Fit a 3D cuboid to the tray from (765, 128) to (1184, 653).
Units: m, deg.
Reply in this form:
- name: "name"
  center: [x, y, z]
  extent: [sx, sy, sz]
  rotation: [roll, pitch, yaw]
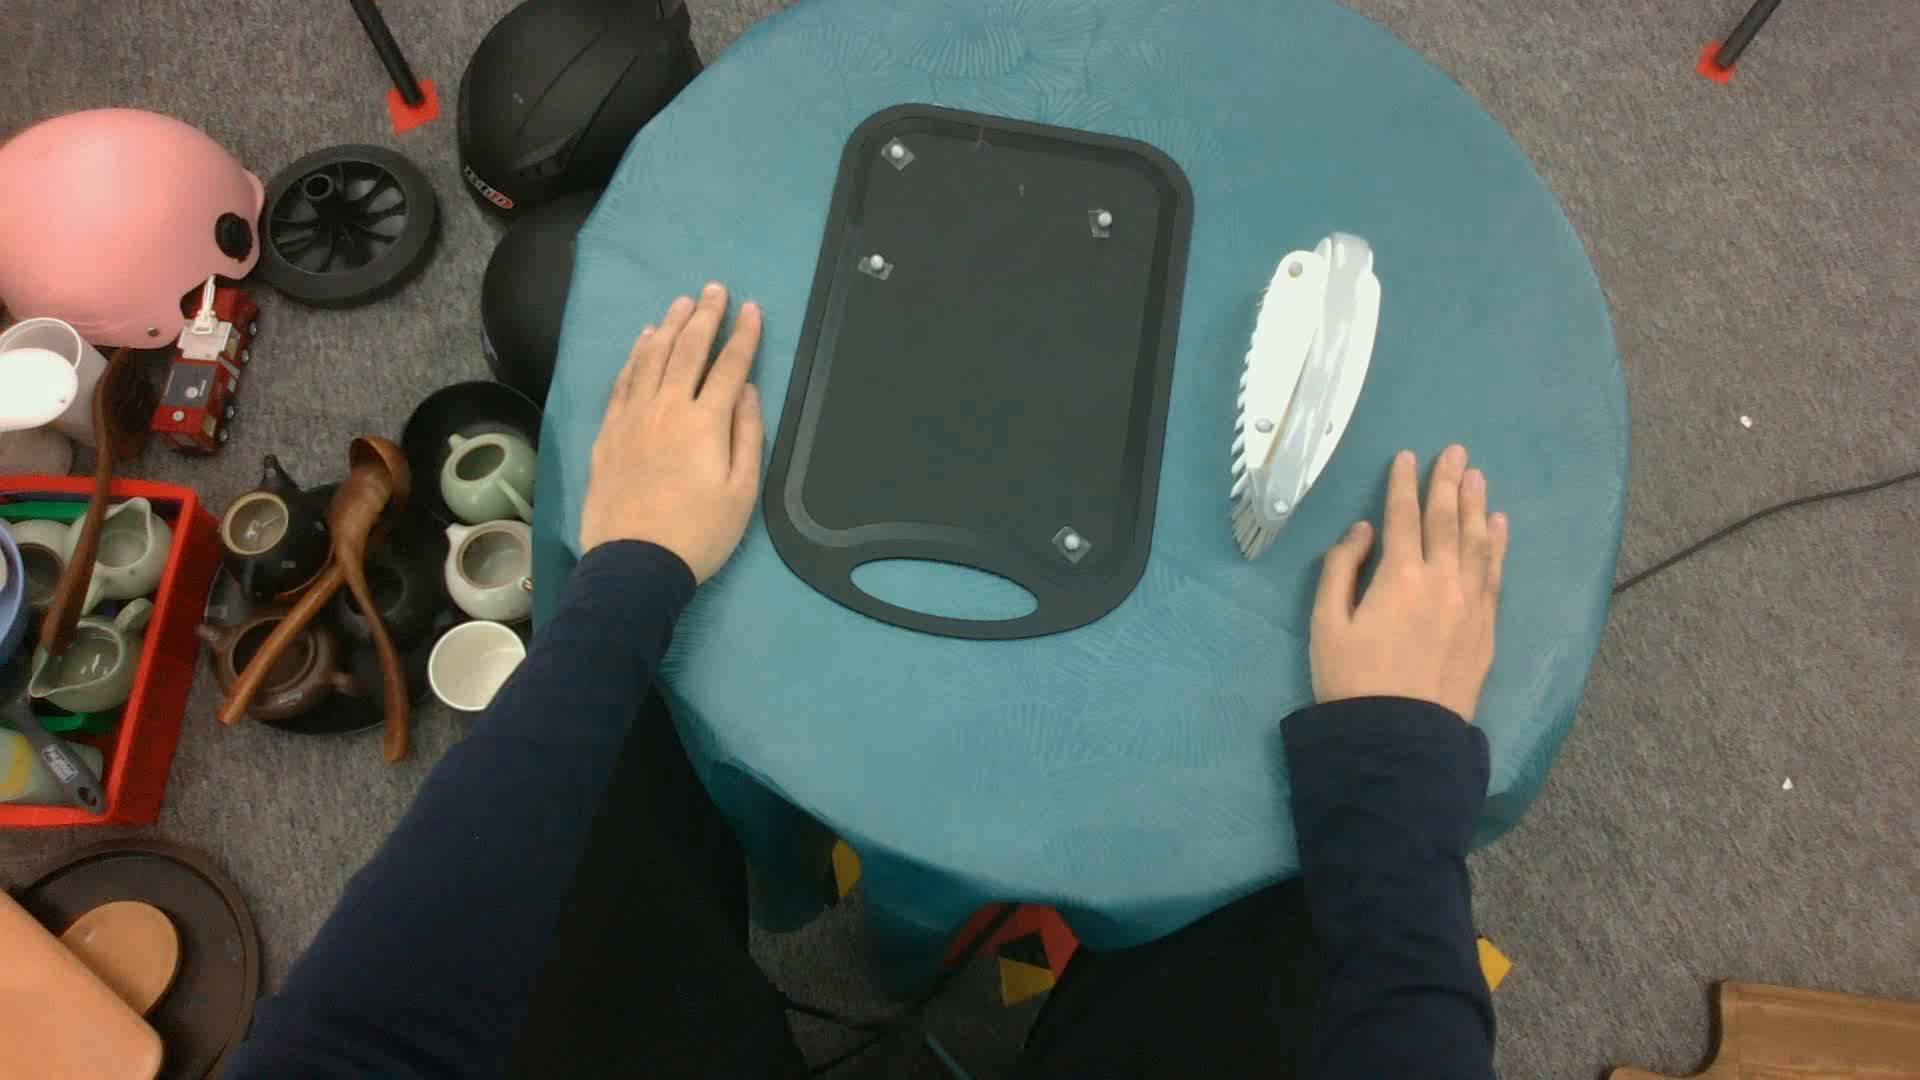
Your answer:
- name: "tray"
  center: [0.013, -0.093, 0.780]
  extent: [0.211, 0.010, 0.326]
  rotation: [9, 69, 2]

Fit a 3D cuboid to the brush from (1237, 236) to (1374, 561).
- name: "brush"
  center: [0.182, -0.082, 0.735]
  extent: [0.061, 0.094, 0.176]
  rotation: [15, 71, 6]
